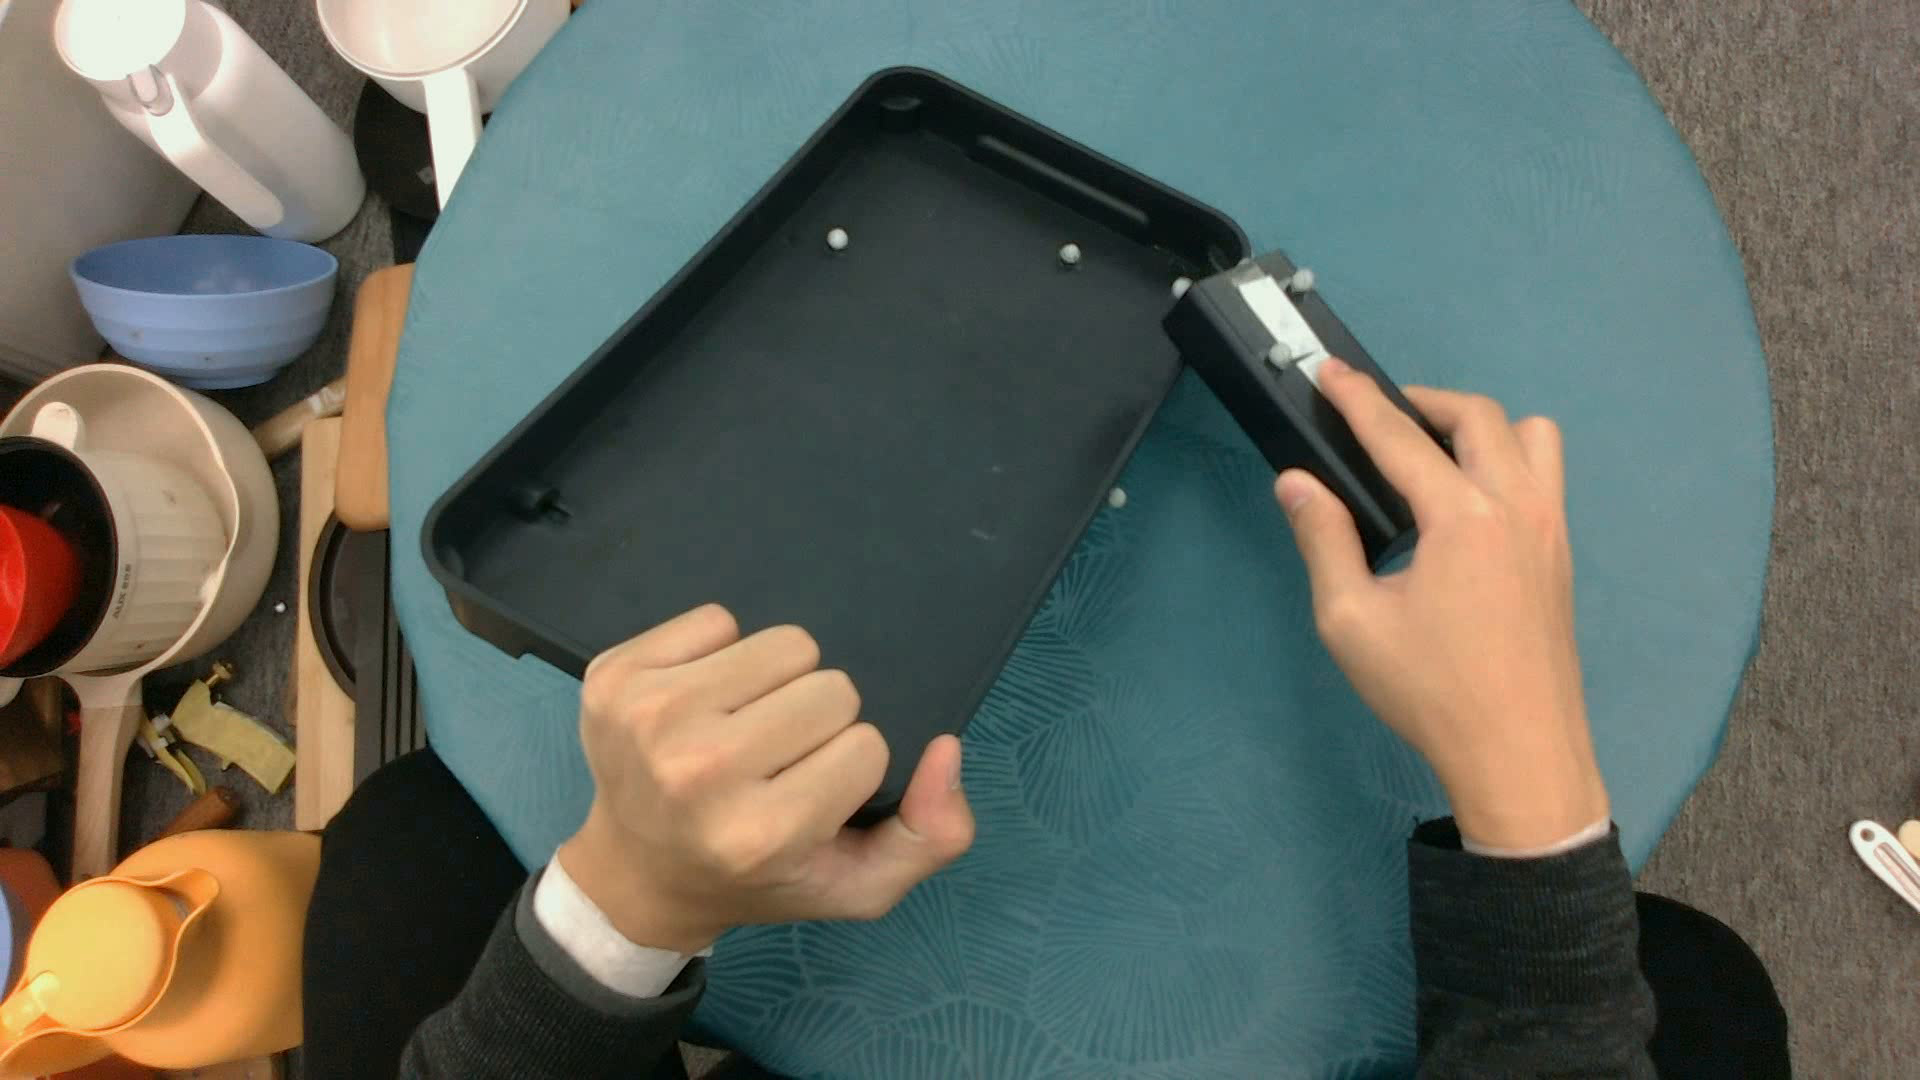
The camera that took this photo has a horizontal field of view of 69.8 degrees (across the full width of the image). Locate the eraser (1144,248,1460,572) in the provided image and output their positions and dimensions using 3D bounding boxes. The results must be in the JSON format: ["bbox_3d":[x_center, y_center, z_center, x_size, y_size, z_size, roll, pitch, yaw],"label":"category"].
[{"bbox_3d":[0.126,-0.050,0.518,0.054,0.030,0.125,-28,72,-27],"label":"eraser"}]

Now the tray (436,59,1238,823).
[{"bbox_3d":[-0.027,-0.061,0.524,0.184,0.037,0.319,27,55,8],"label":"tray"}]
